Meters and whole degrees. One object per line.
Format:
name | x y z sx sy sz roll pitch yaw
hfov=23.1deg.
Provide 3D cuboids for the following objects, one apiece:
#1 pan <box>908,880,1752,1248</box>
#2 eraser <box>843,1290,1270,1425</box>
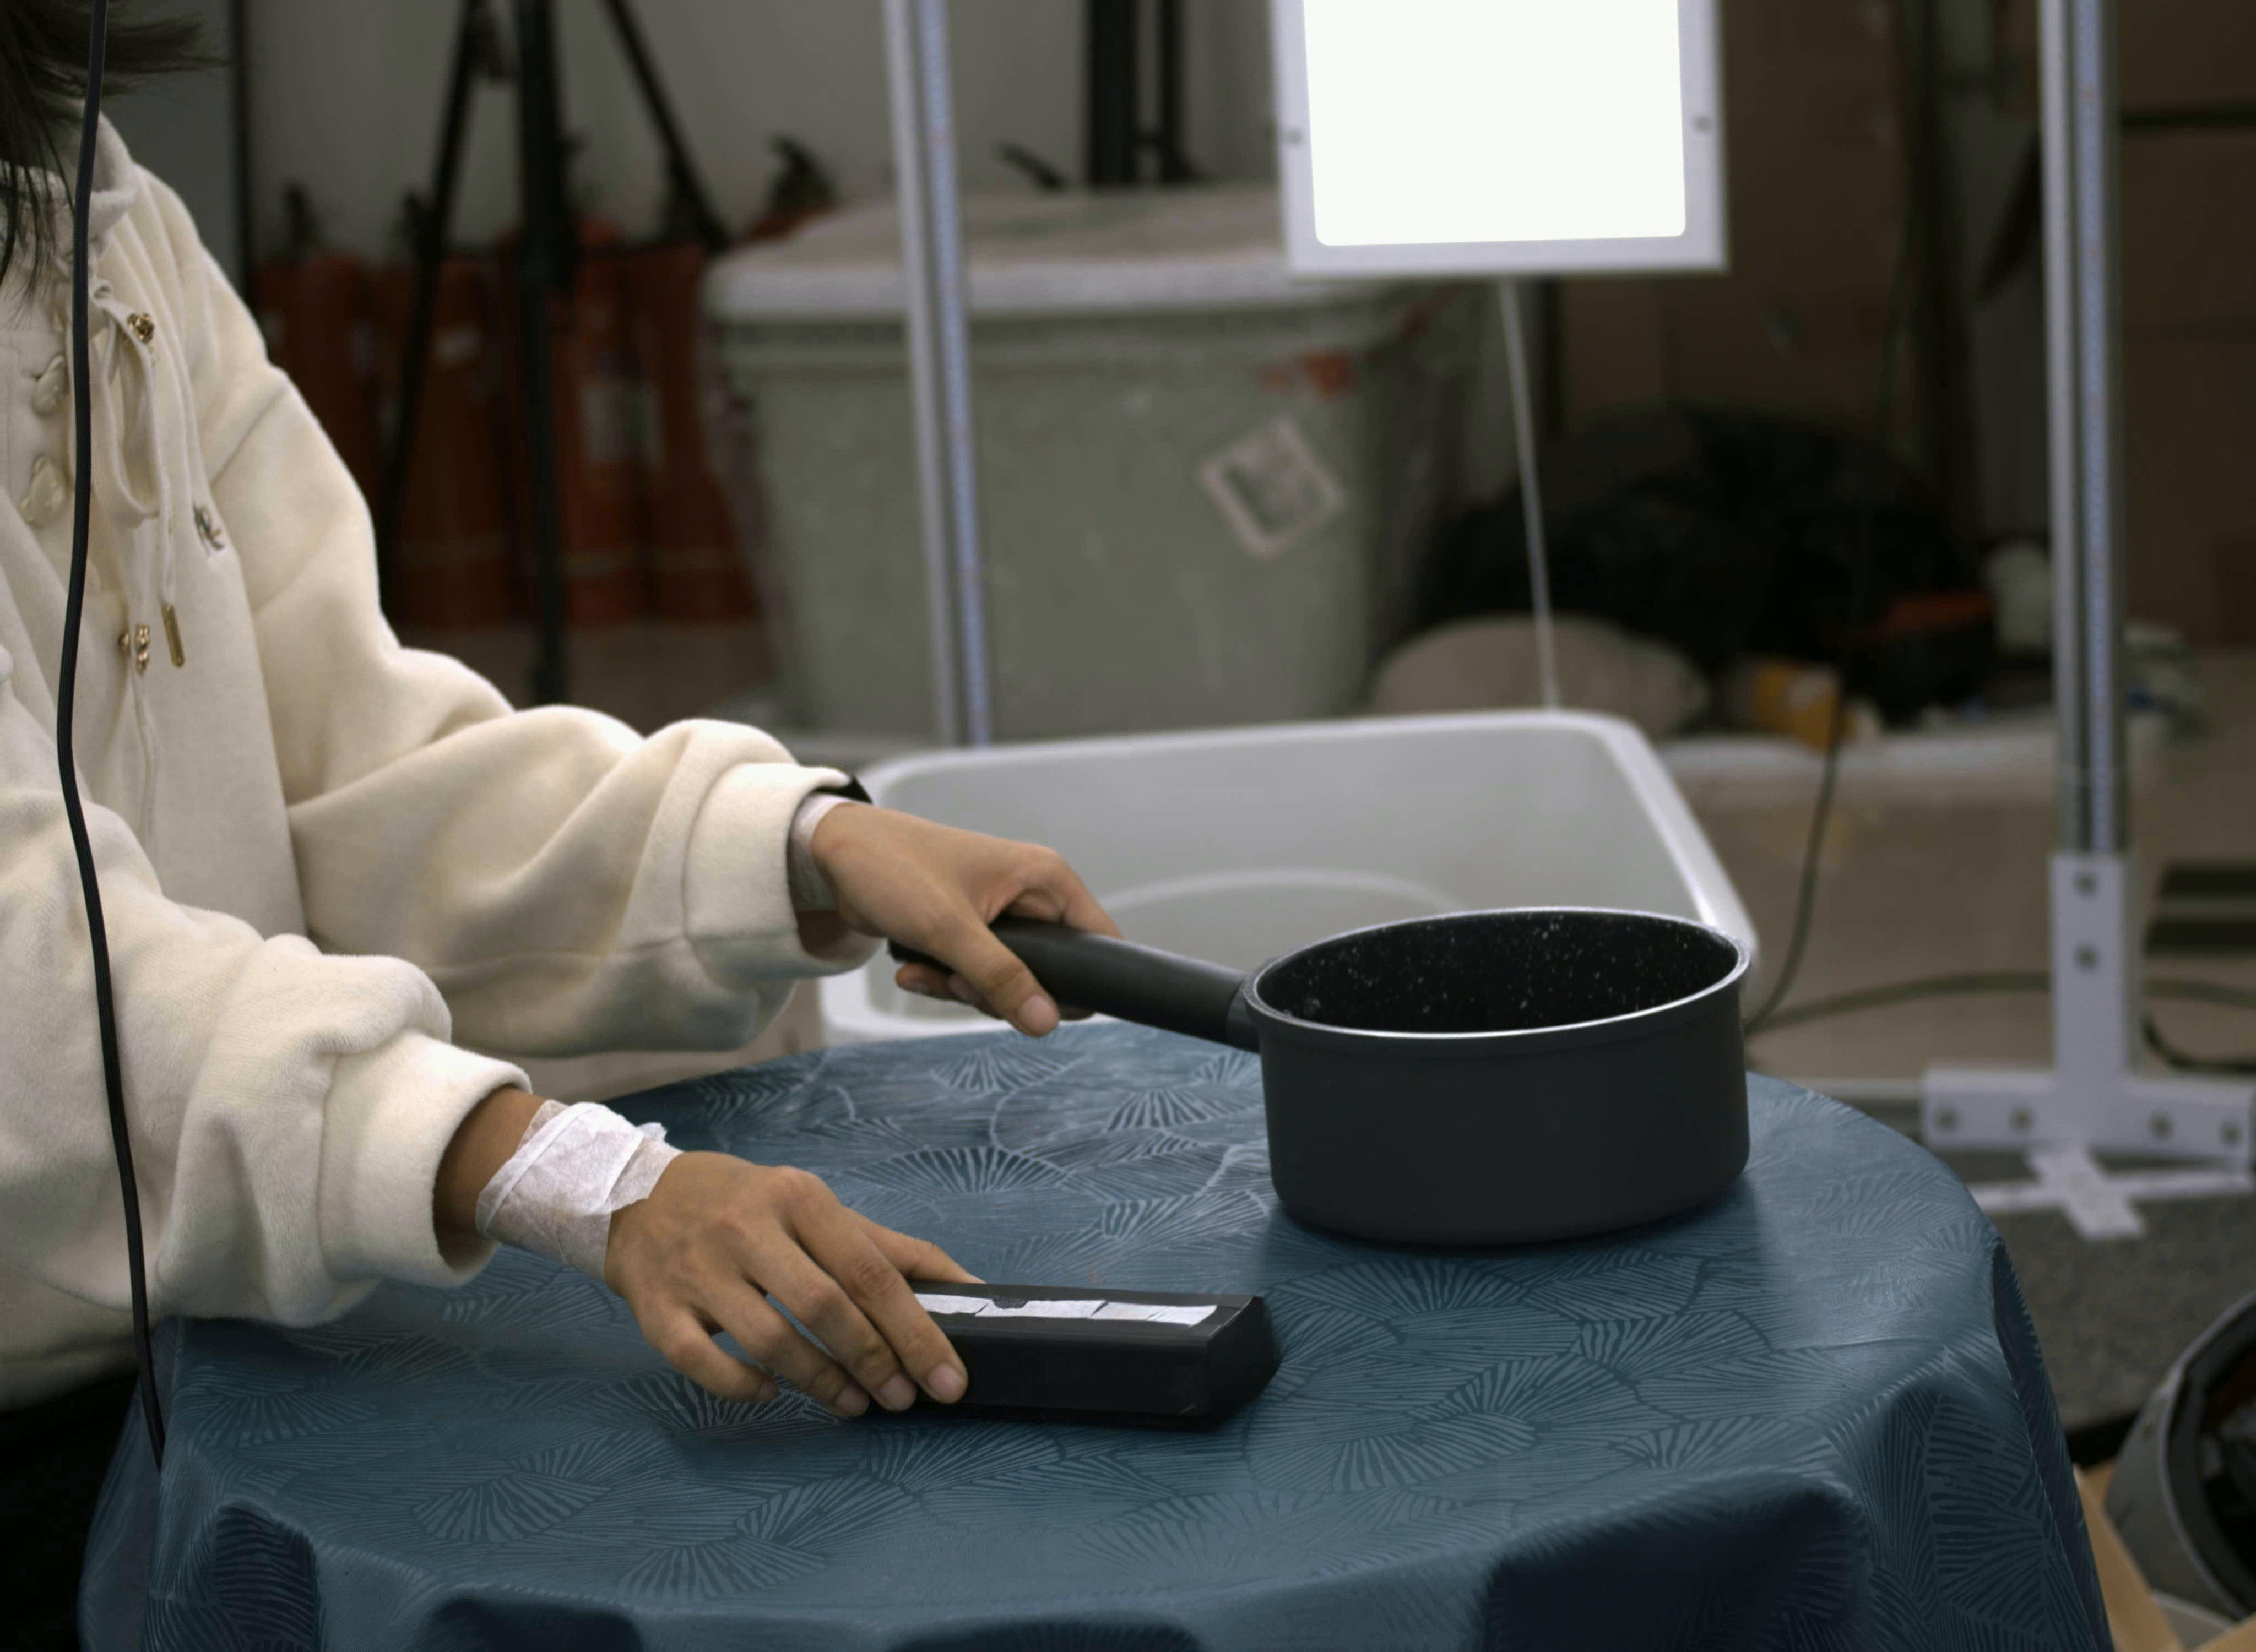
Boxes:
pan | 0.062 0.076 1.905 0.335 0.087 0.168 5 16 36
eraser | -0.021 0.163 1.698 0.127 0.030 0.052 -1 10 23
